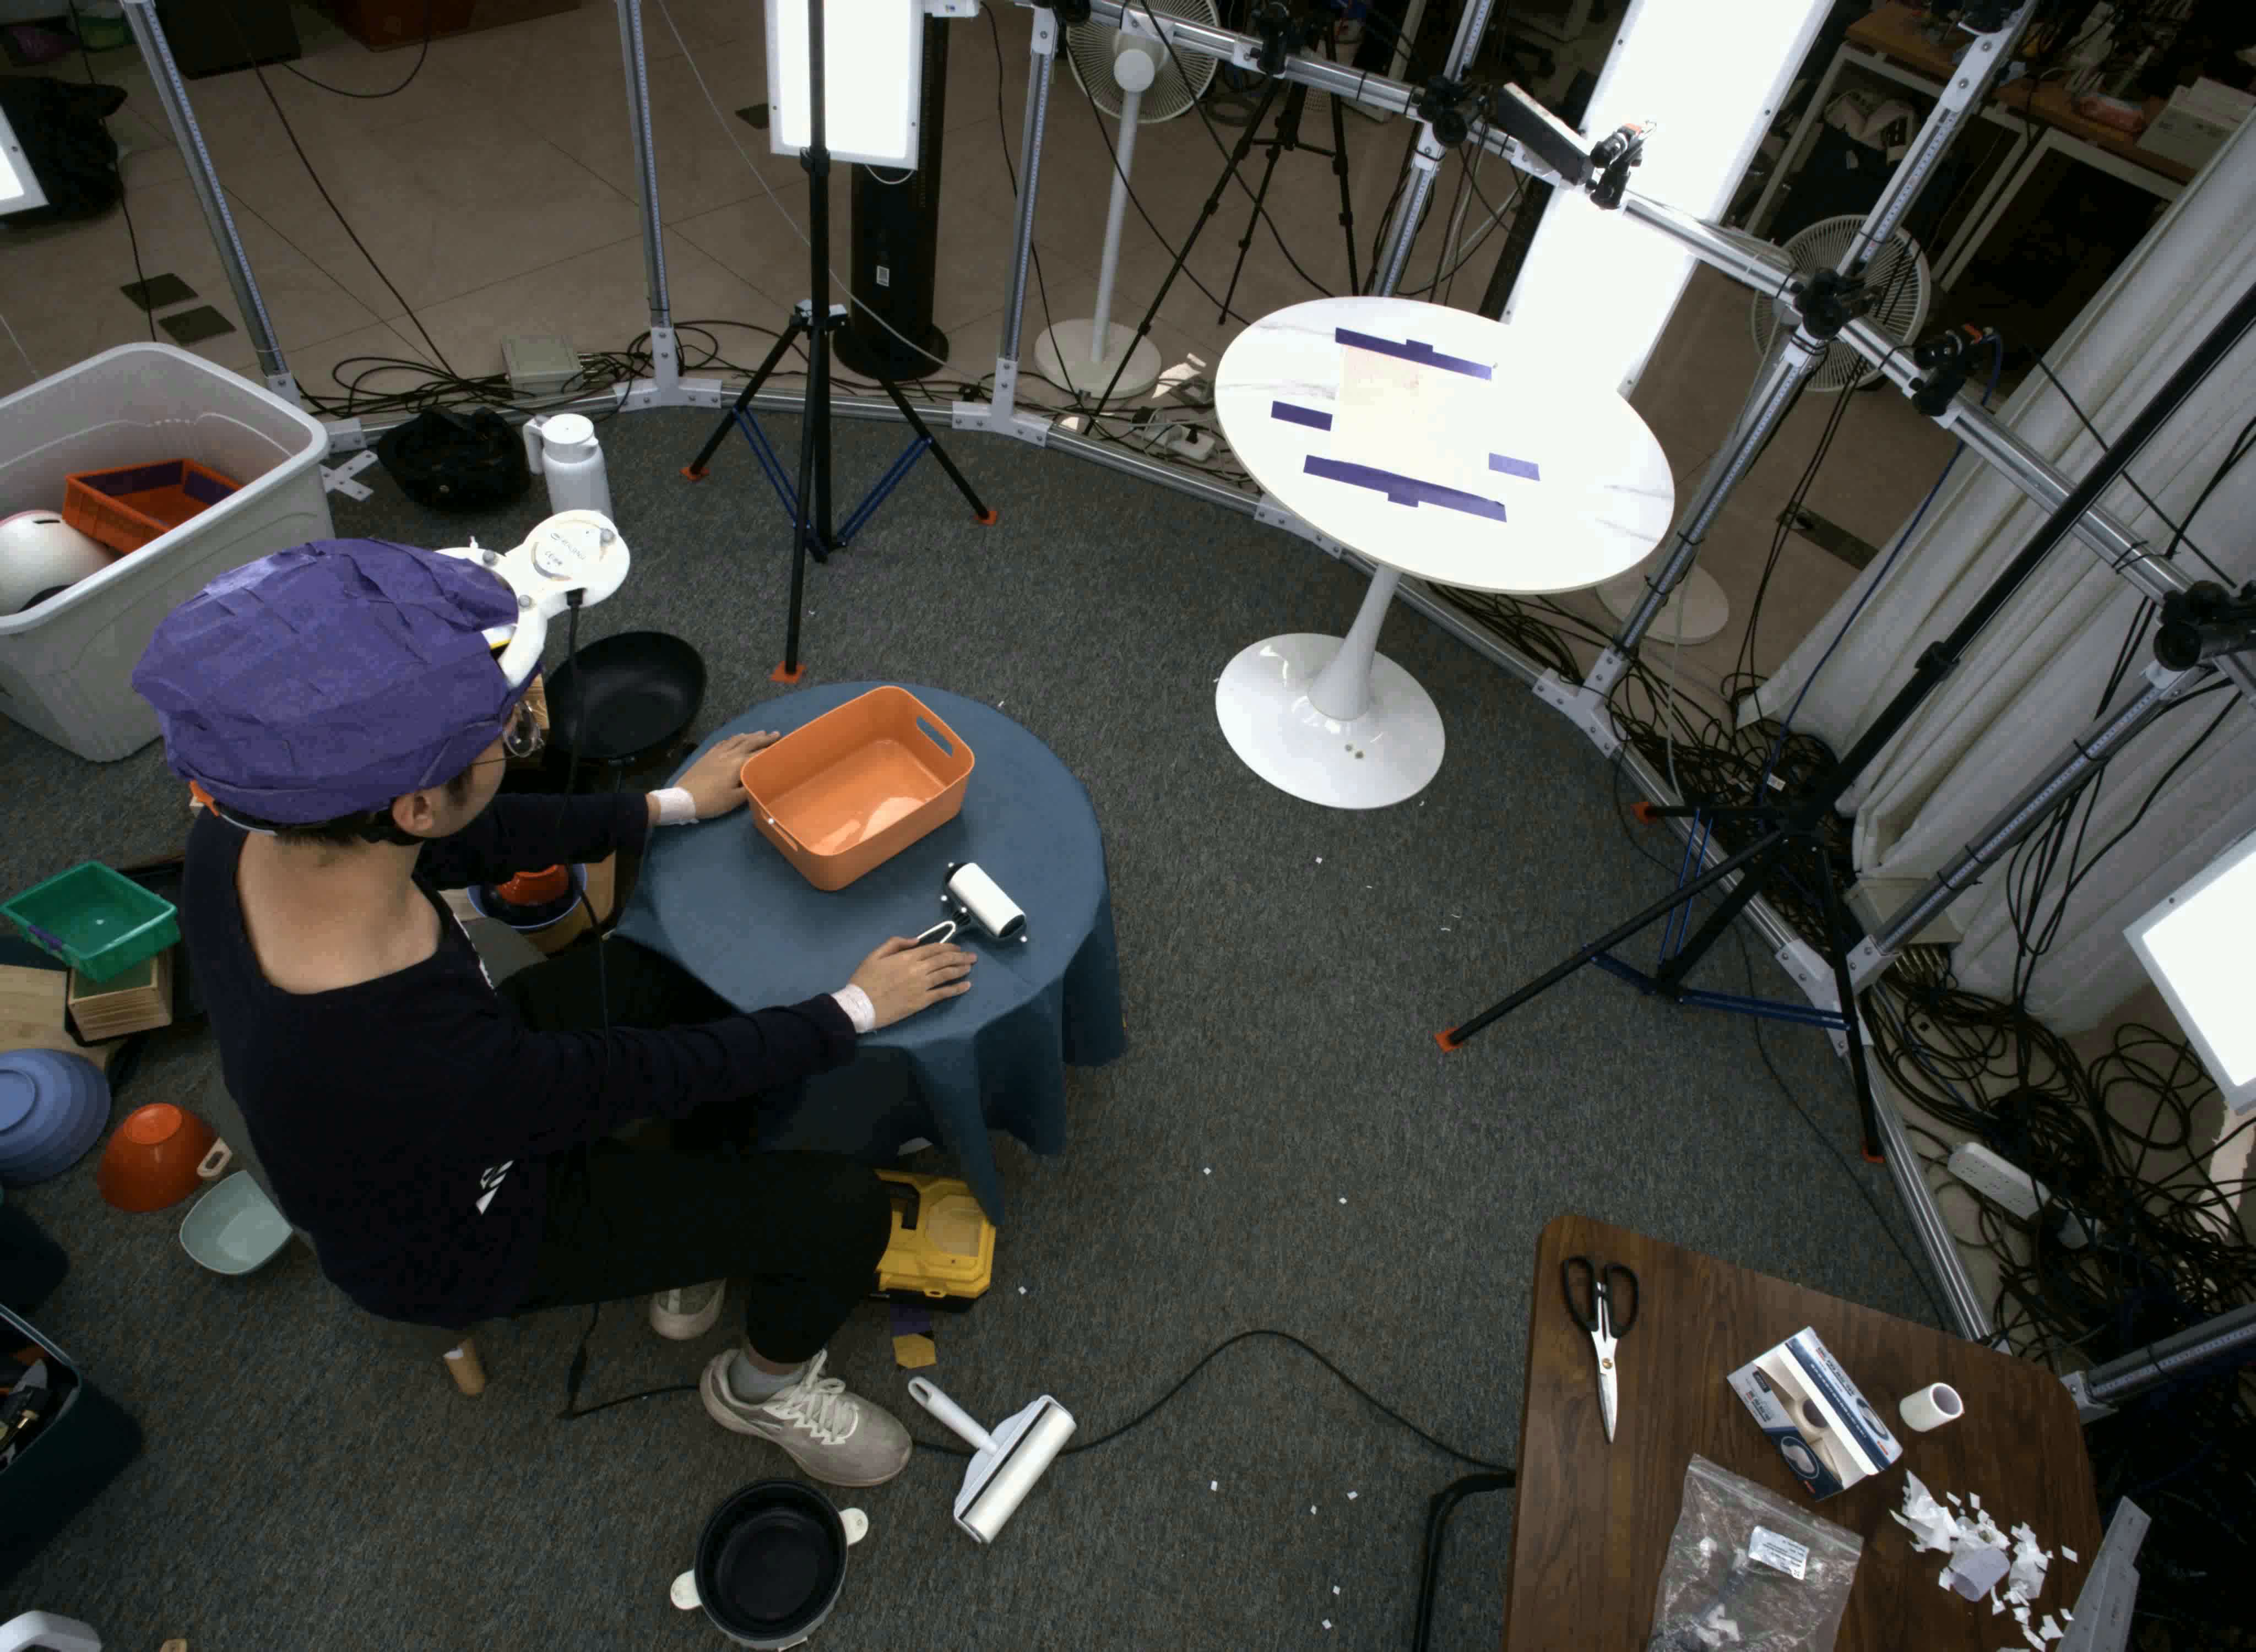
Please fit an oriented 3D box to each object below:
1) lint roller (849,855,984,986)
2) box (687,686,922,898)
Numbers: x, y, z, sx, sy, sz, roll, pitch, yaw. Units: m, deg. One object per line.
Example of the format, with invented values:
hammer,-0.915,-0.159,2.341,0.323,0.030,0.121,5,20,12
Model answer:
lint roller,-0.283,0.132,1.648,0.131,0.049,0.180,41,59,16
box,-0.417,-0.043,1.700,0.195,0.105,0.273,39,55,16
